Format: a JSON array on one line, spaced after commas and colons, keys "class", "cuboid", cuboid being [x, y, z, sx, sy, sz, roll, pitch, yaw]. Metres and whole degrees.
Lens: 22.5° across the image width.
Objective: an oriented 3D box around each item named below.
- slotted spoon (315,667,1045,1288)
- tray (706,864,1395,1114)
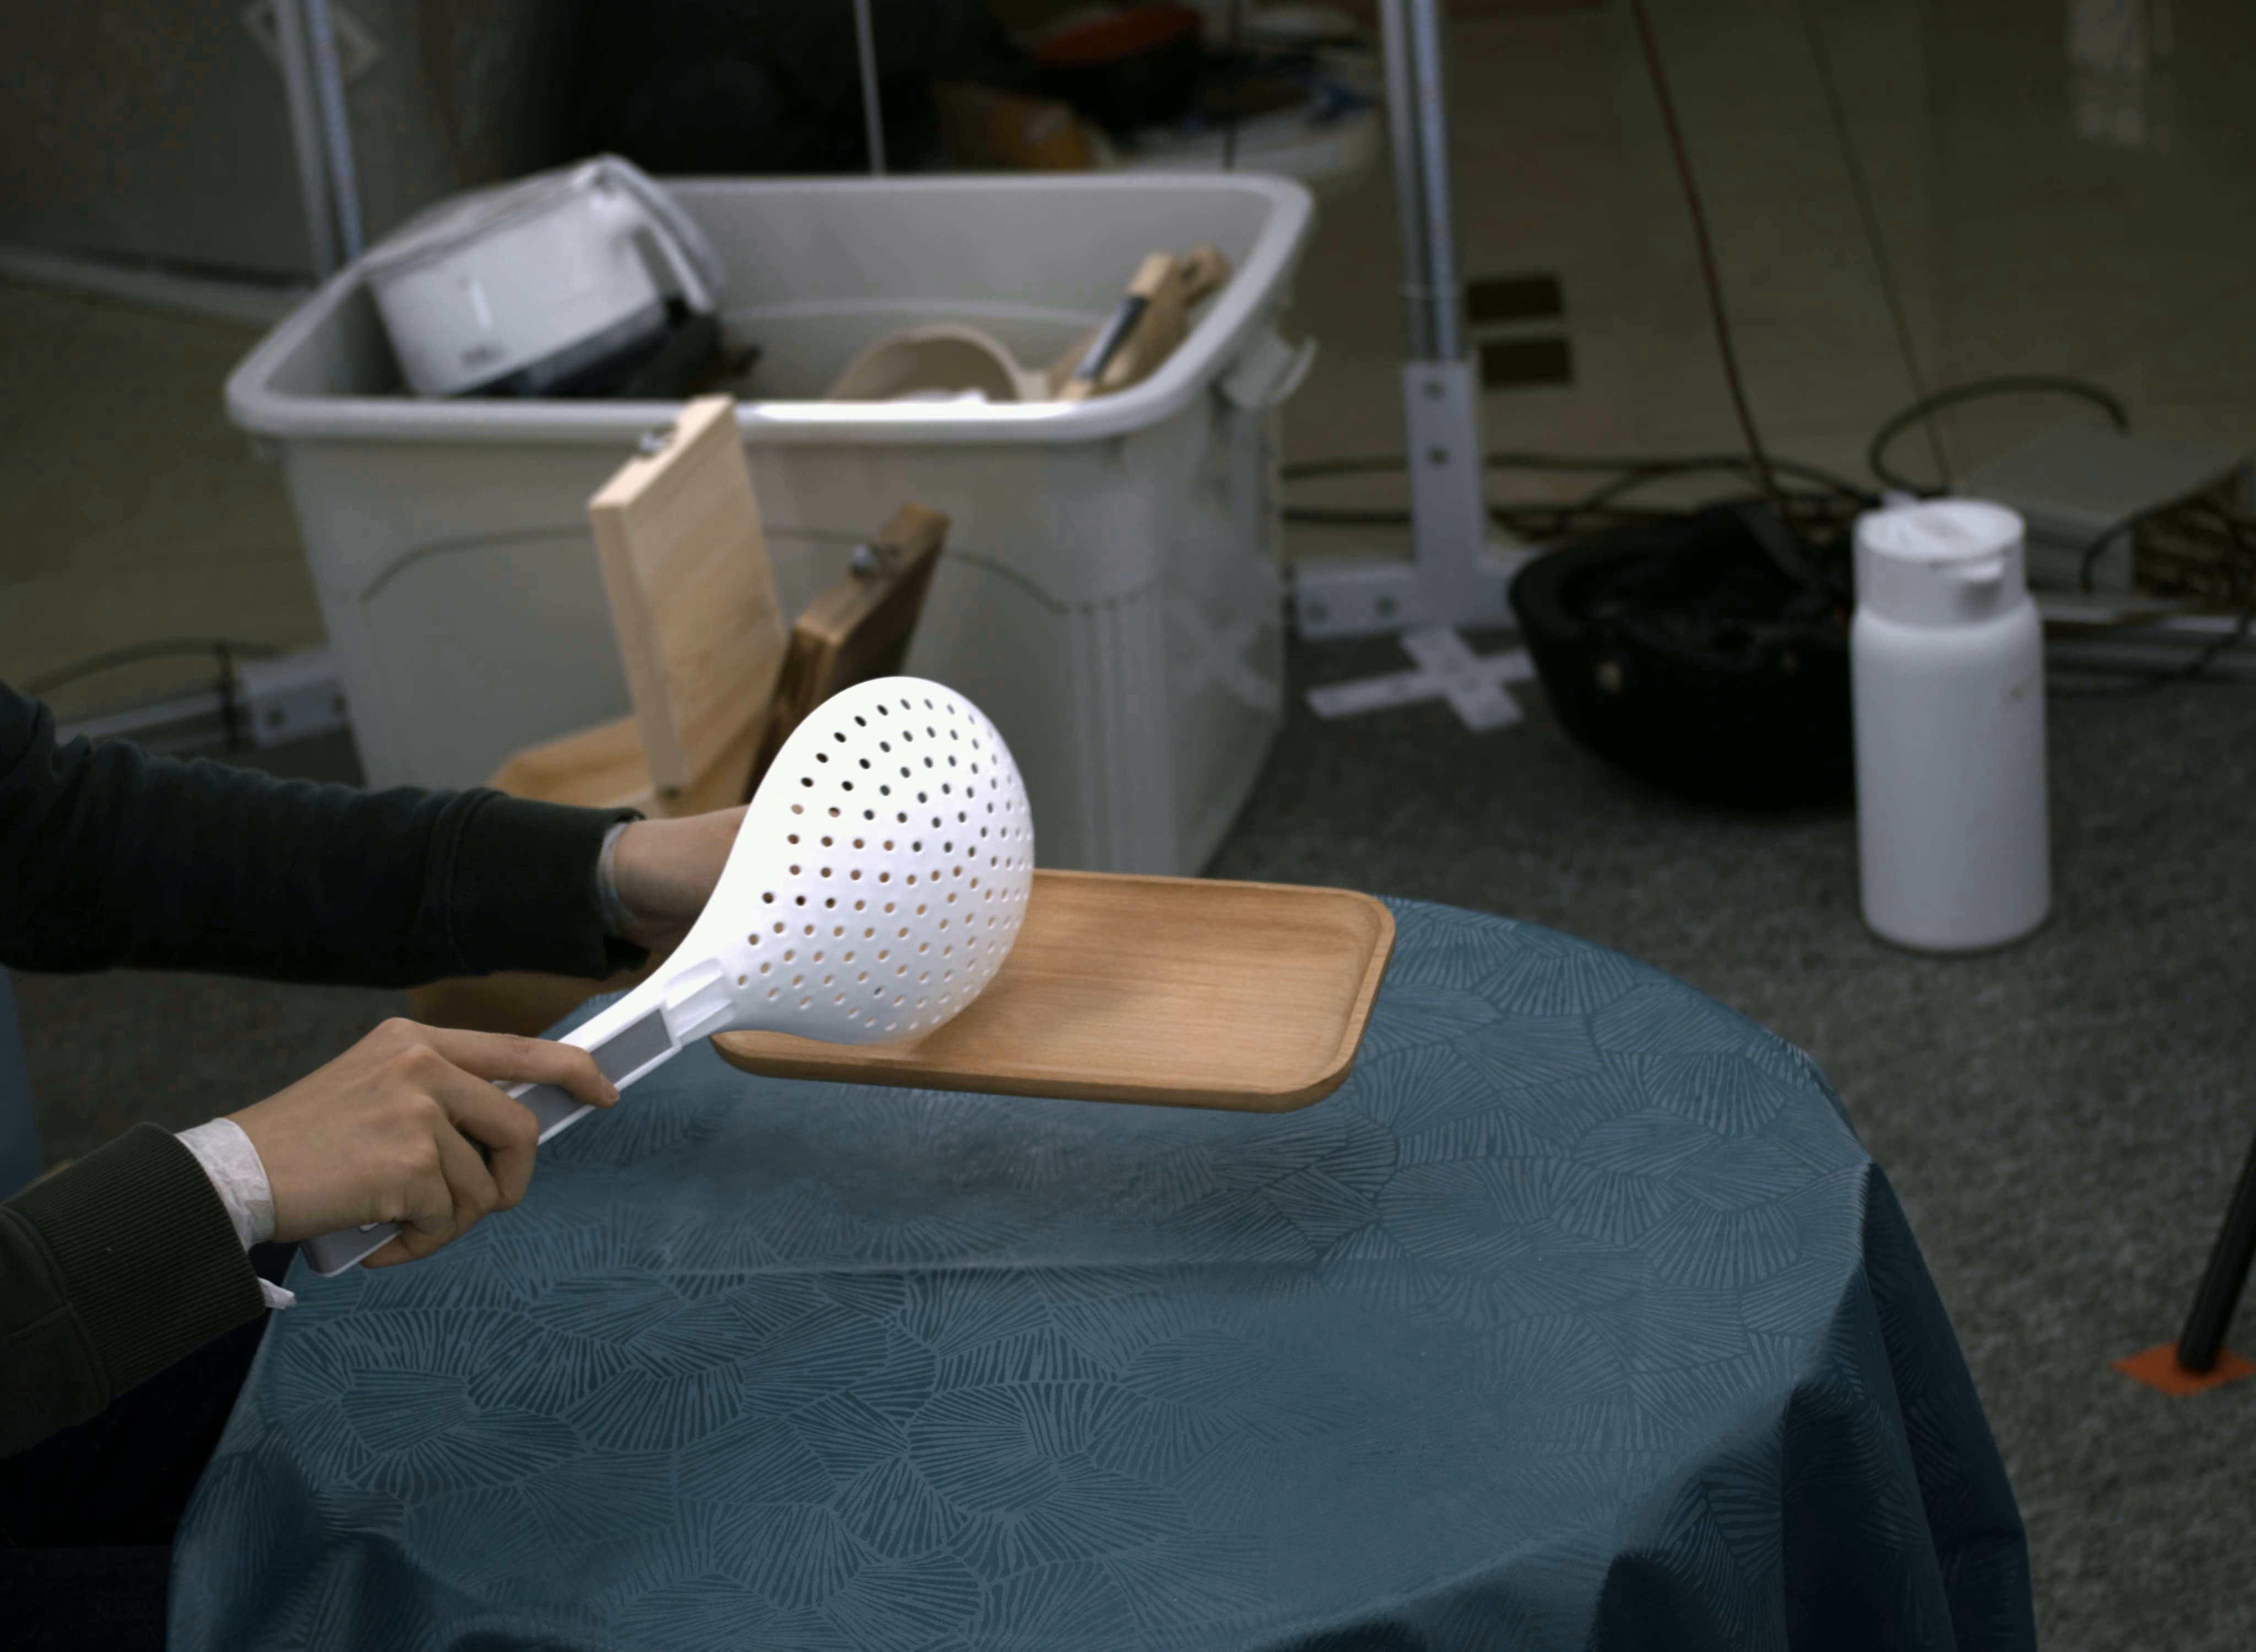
[{"class": "slotted spoon", "cuboid": [-0.153, 0.062, 2.027, 0.346, 0.138, 0.045, -33, 26, -28]}, {"class": "tray", "cuboid": [-0.029, 0.059, 2.131, 0.250, 0.023, 0.128, 3, 36, 16]}]
